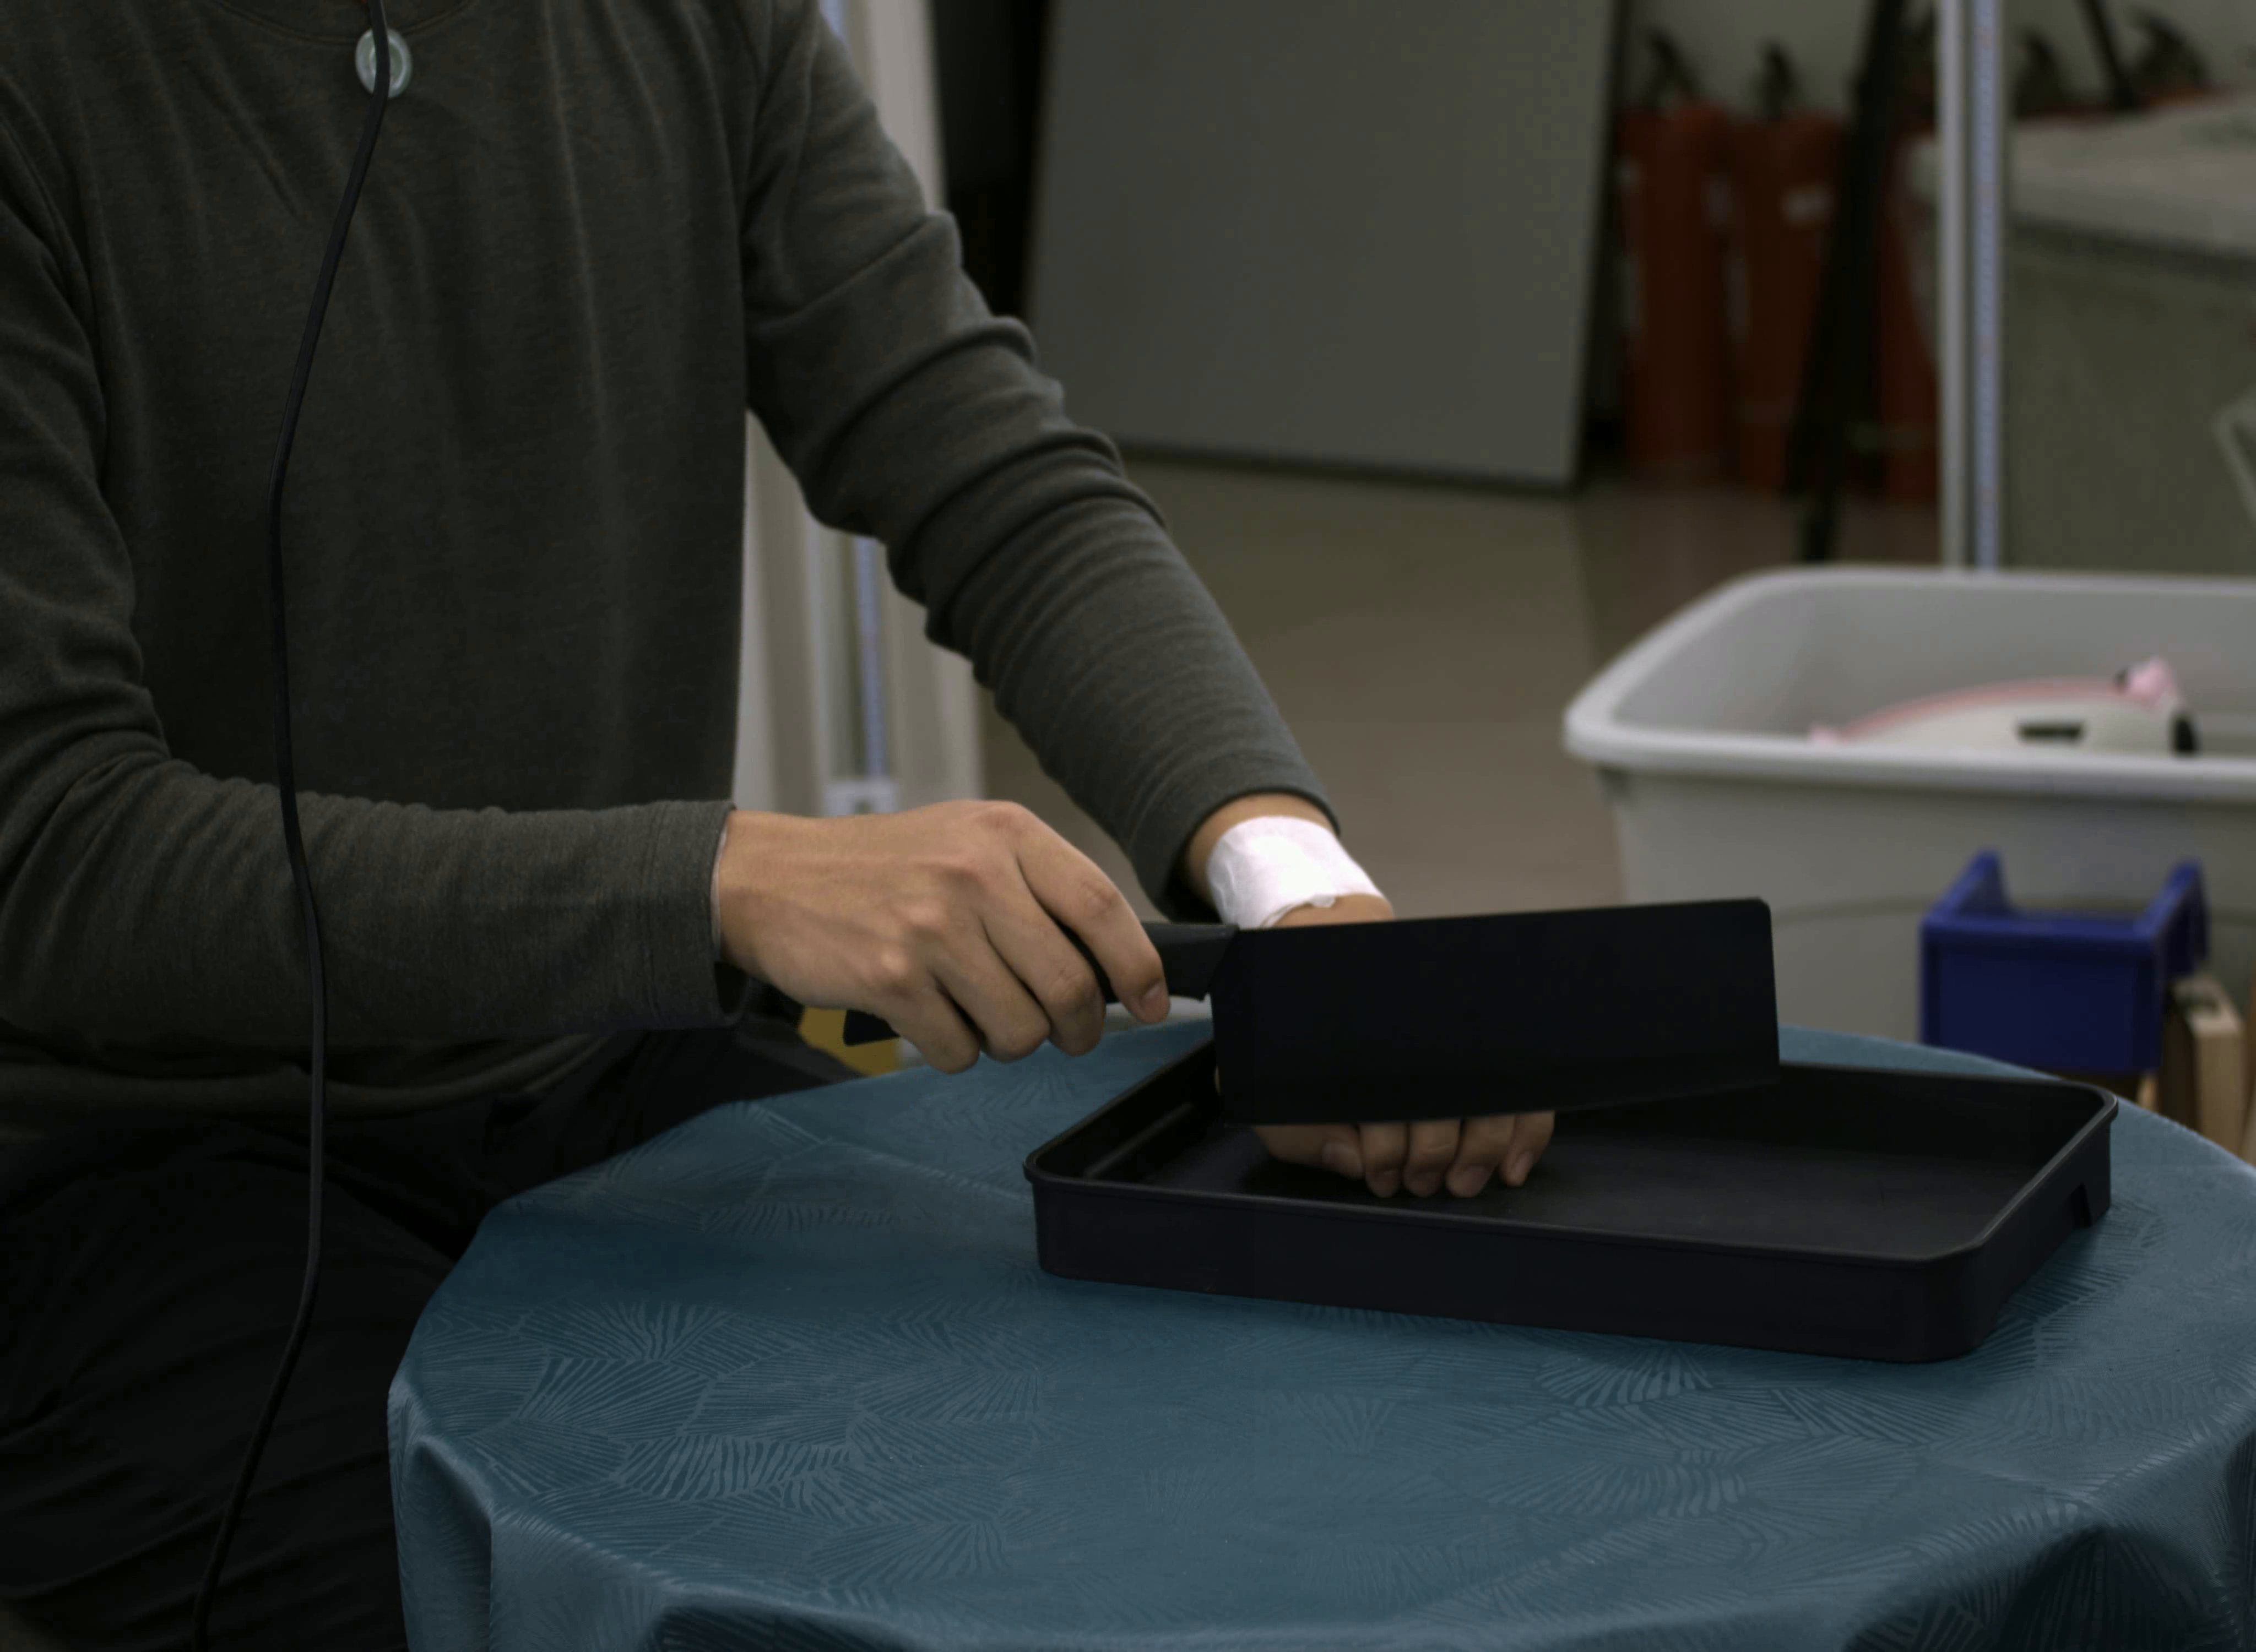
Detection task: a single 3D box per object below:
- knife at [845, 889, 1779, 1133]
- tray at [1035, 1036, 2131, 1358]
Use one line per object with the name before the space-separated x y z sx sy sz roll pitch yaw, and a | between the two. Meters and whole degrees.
knife | 0.057 0.059 1.711 0.300 0.082 0.021 0 10 10
tray | 0.144 0.111 1.695 0.318 0.037 0.182 3 15 26
